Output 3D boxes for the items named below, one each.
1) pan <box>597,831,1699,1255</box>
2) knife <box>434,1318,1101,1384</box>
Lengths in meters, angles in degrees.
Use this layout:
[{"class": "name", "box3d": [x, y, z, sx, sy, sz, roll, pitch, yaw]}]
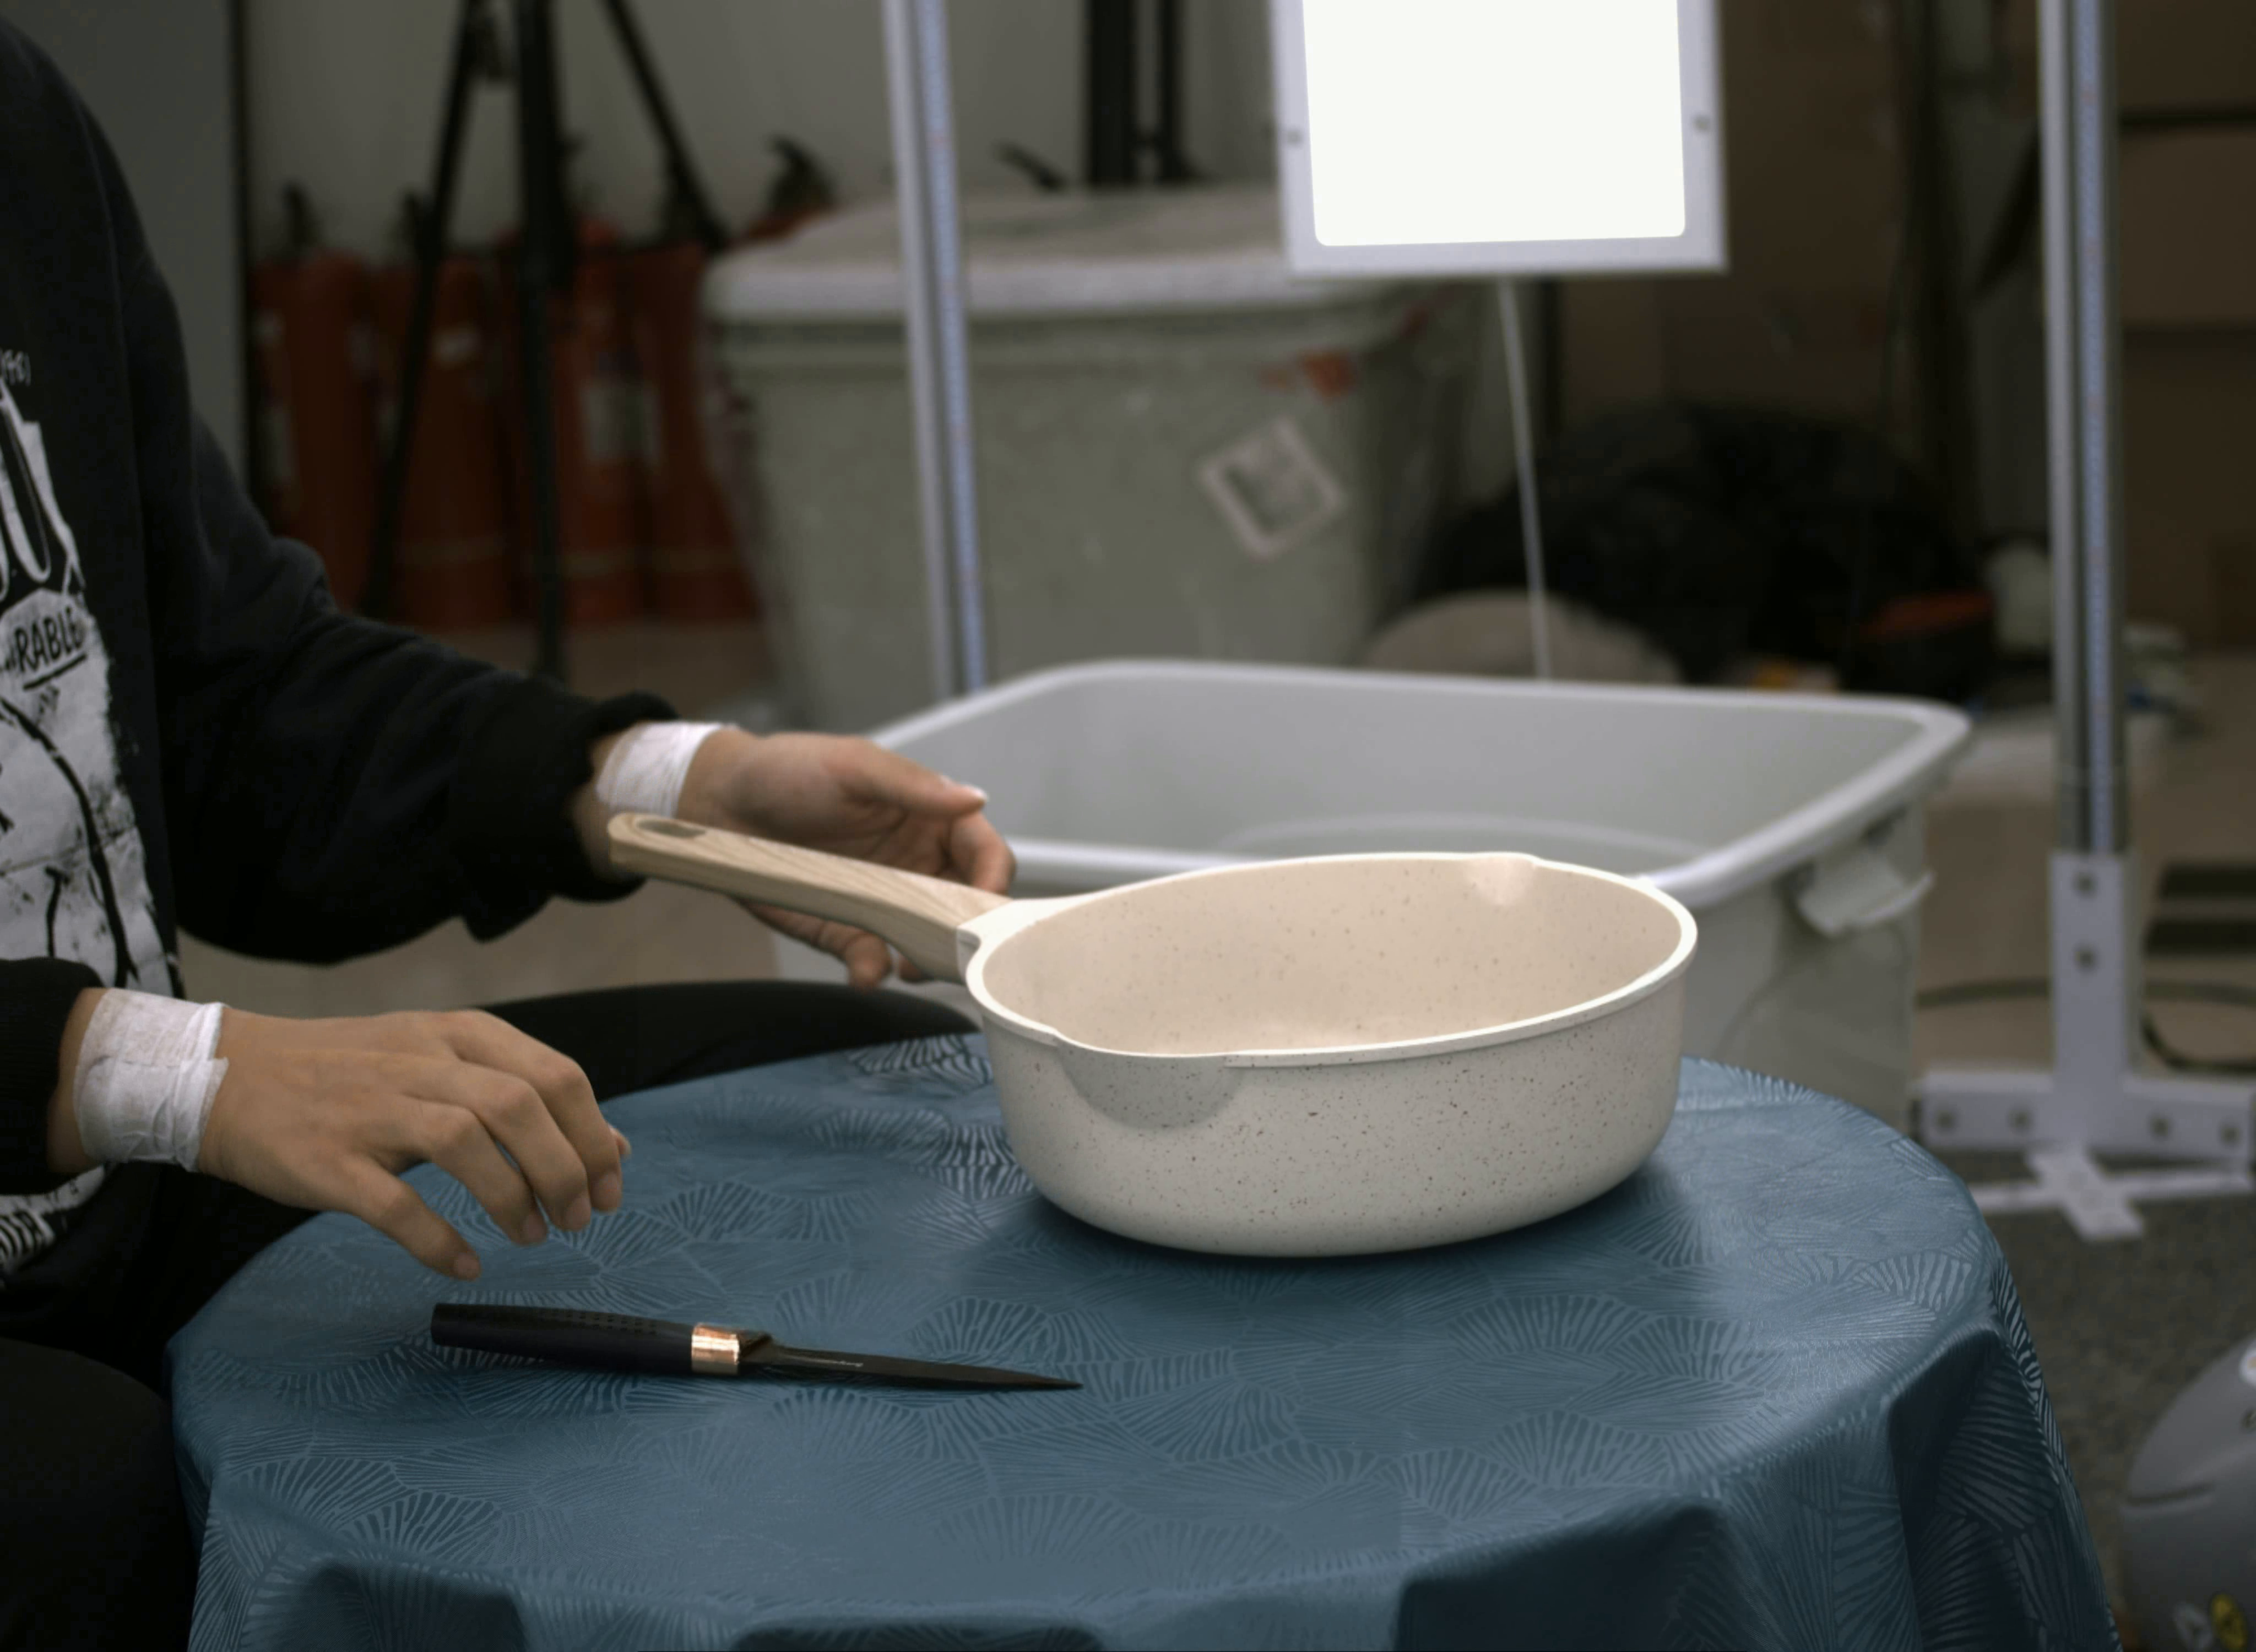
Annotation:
[{"class": "pan", "box3d": [-0.004, 0.065, 1.943, 0.443, 0.102, 0.257, 4, 18, 34]}, {"class": "knife", "box3d": [-0.116, 0.169, 1.752, 0.228, 0.017, 0.026, 2, -1, 22]}]
